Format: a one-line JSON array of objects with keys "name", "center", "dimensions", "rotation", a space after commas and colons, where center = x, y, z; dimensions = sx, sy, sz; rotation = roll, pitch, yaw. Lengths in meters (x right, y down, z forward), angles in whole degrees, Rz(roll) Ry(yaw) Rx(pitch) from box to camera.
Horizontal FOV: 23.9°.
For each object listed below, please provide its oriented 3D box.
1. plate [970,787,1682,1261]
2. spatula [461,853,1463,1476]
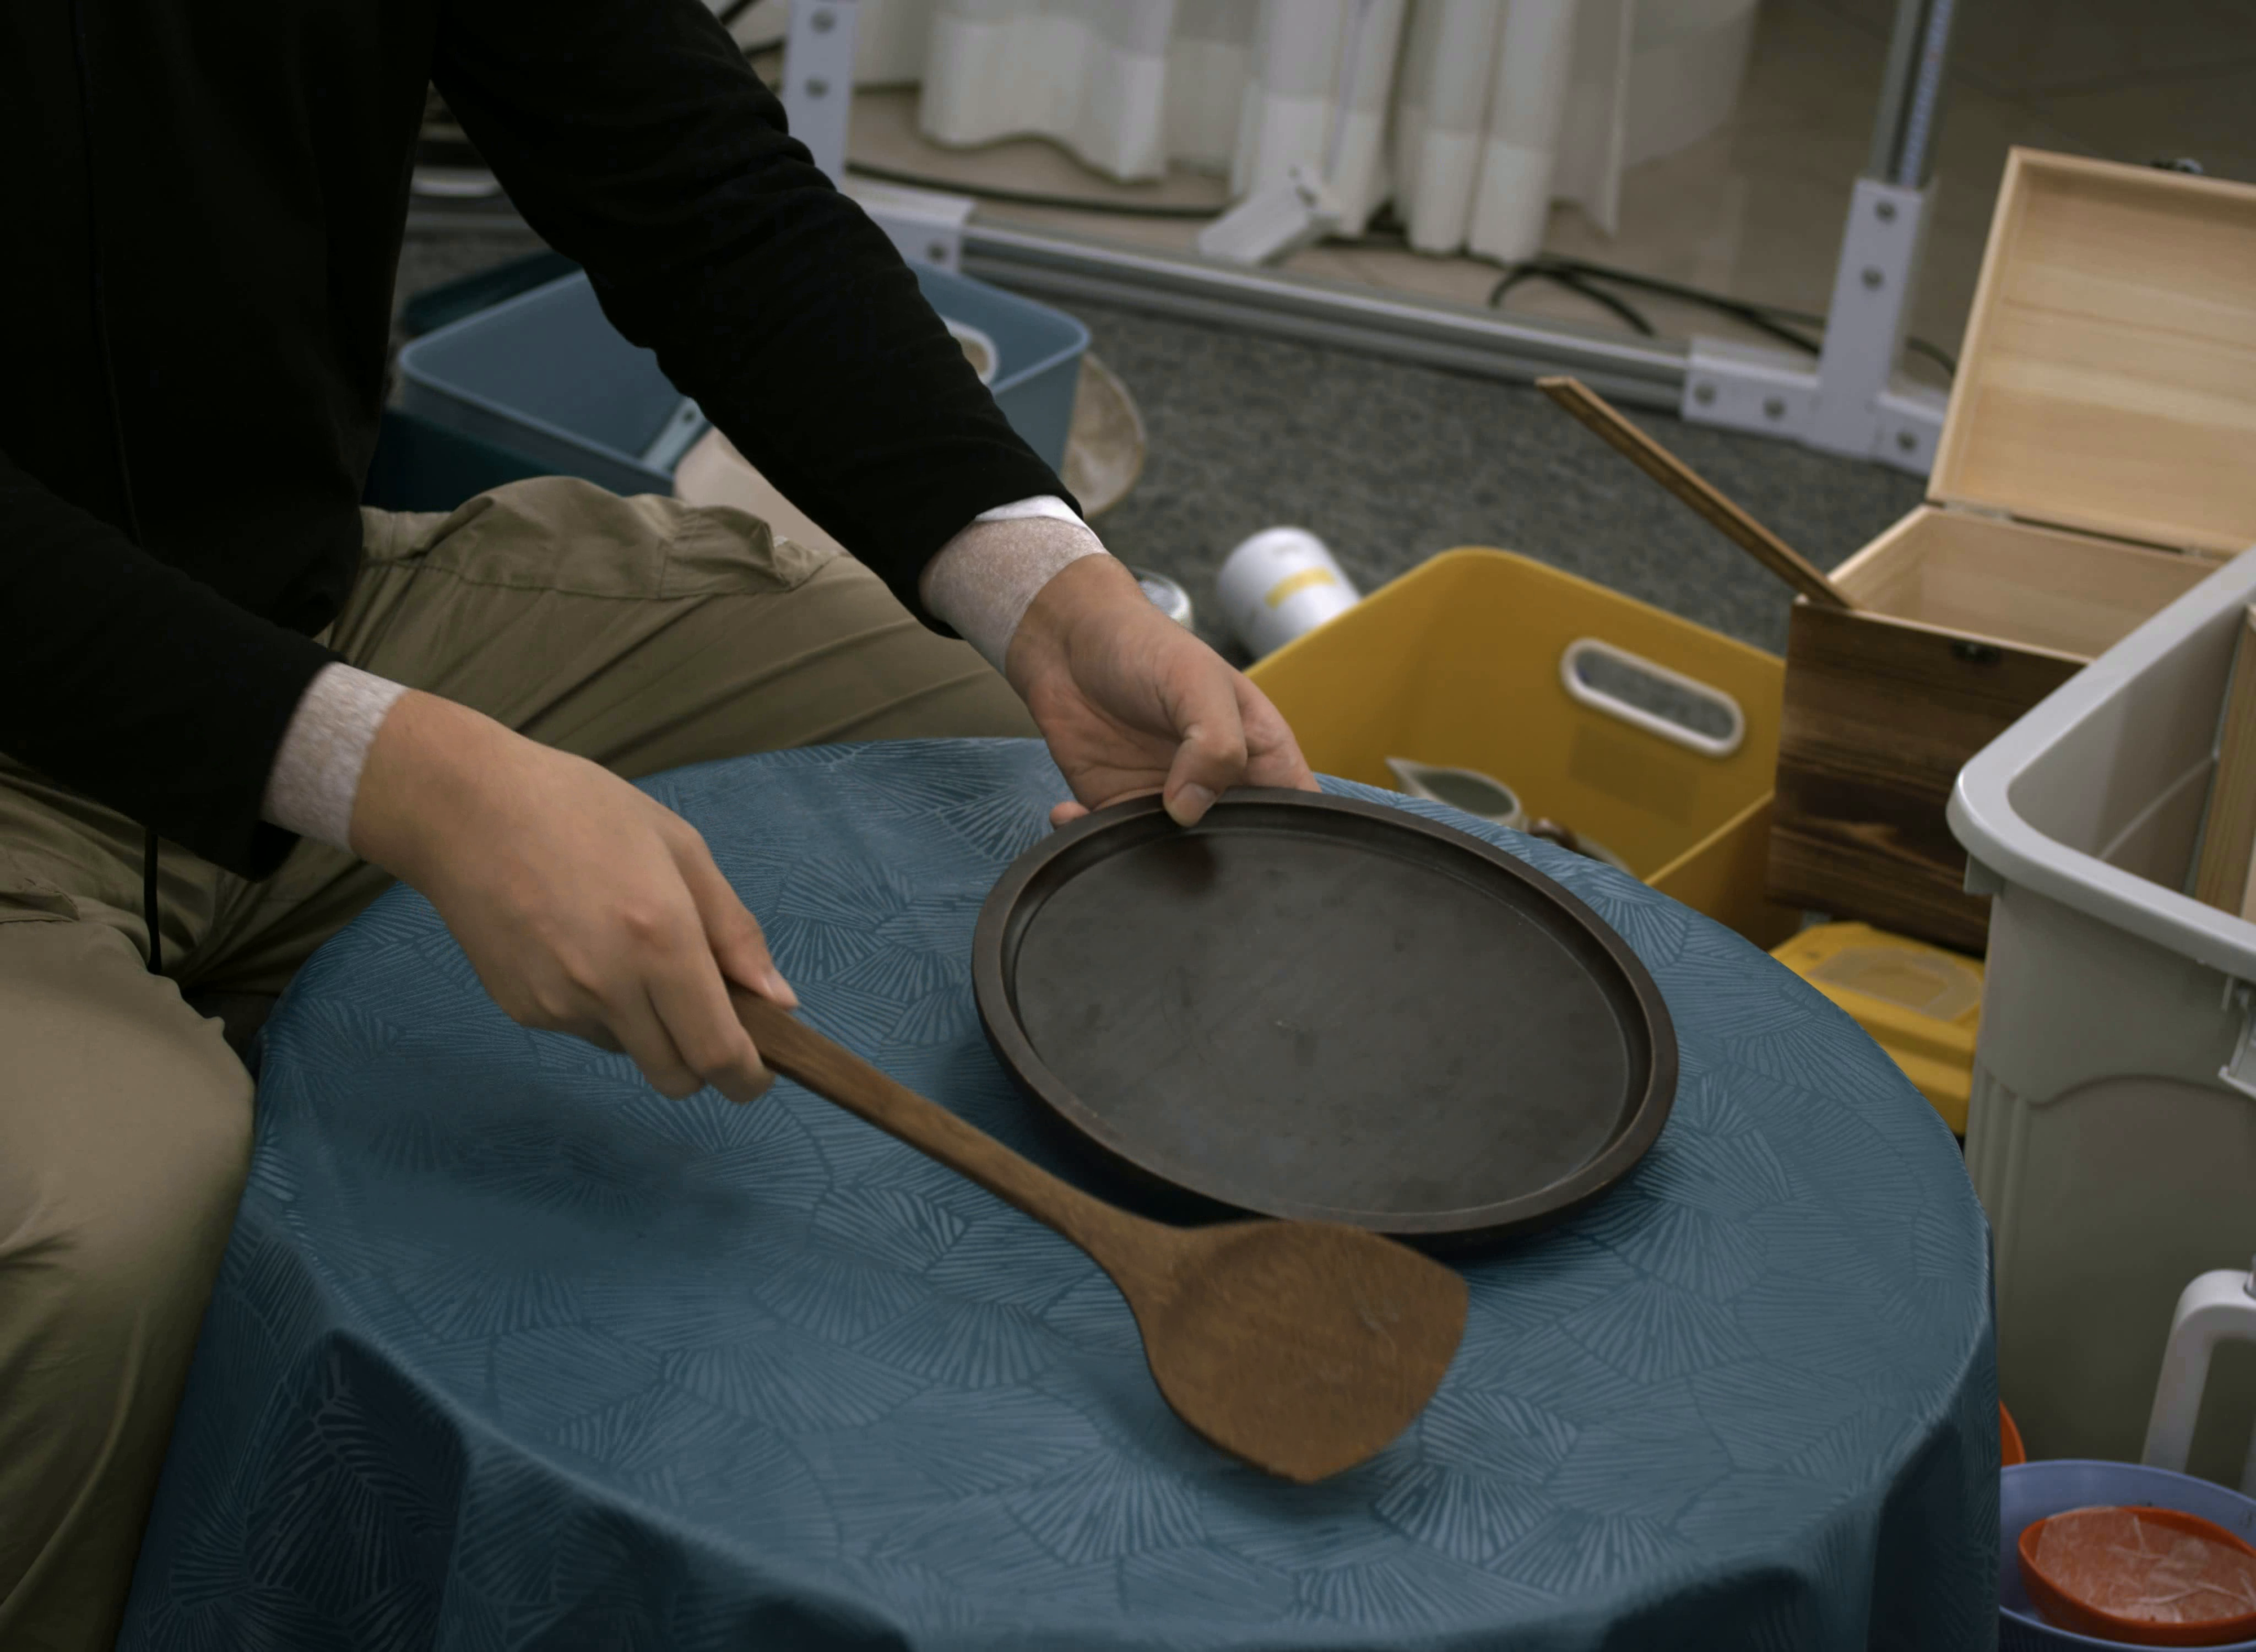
[{"name": "plate", "center": [0.068, 0.067, 1.864], "dimensions": [0.254, 0.029, 0.257], "rotation": [7, 36, -6]}, {"name": "spatula", "center": [-0.067, 0.096, 1.724], "dimensions": [0.388, 0.015, 0.096], "rotation": [28, 59, 23]}]
